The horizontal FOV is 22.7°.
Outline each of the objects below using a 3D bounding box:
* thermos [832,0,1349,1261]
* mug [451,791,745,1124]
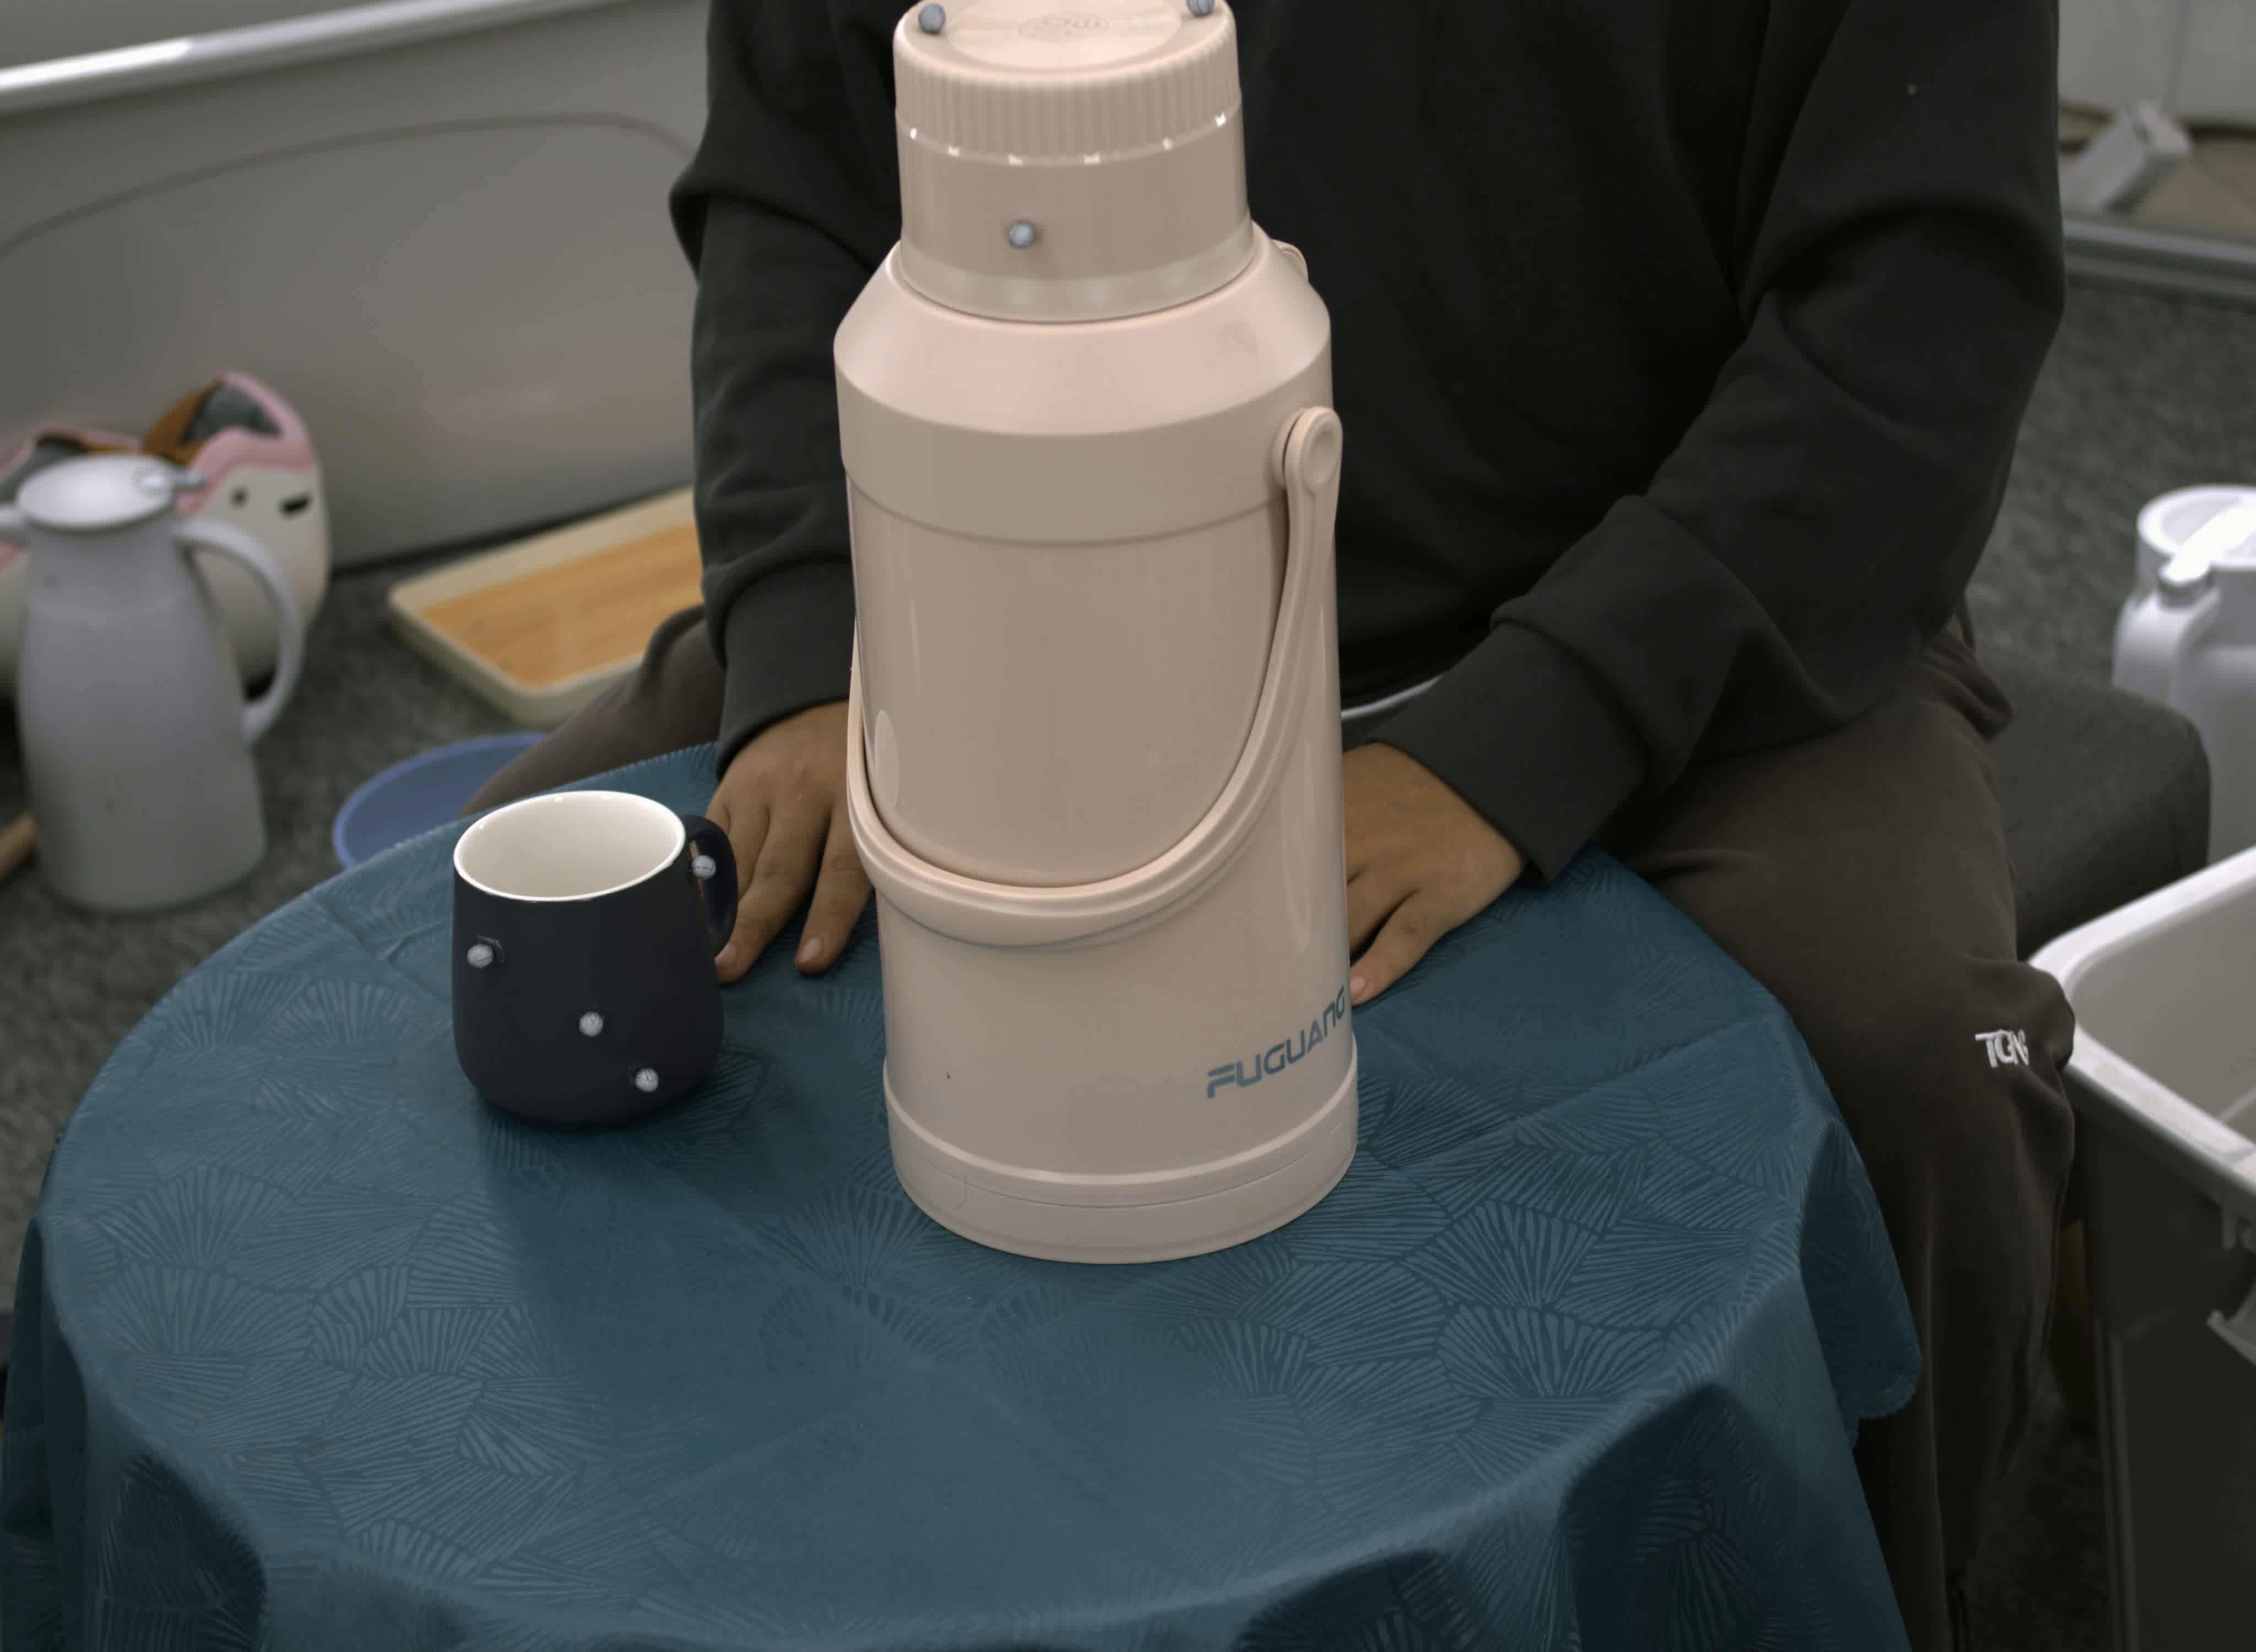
[{"bbox_3d":[-0.003,-0.075,1.820,0.174,0.402,0.210,13,31,30],"label":"thermos"},{"bbox_3d":[-0.178,0.040,1.940,0.093,0.089,0.125,18,34,35],"label":"mug"}]
